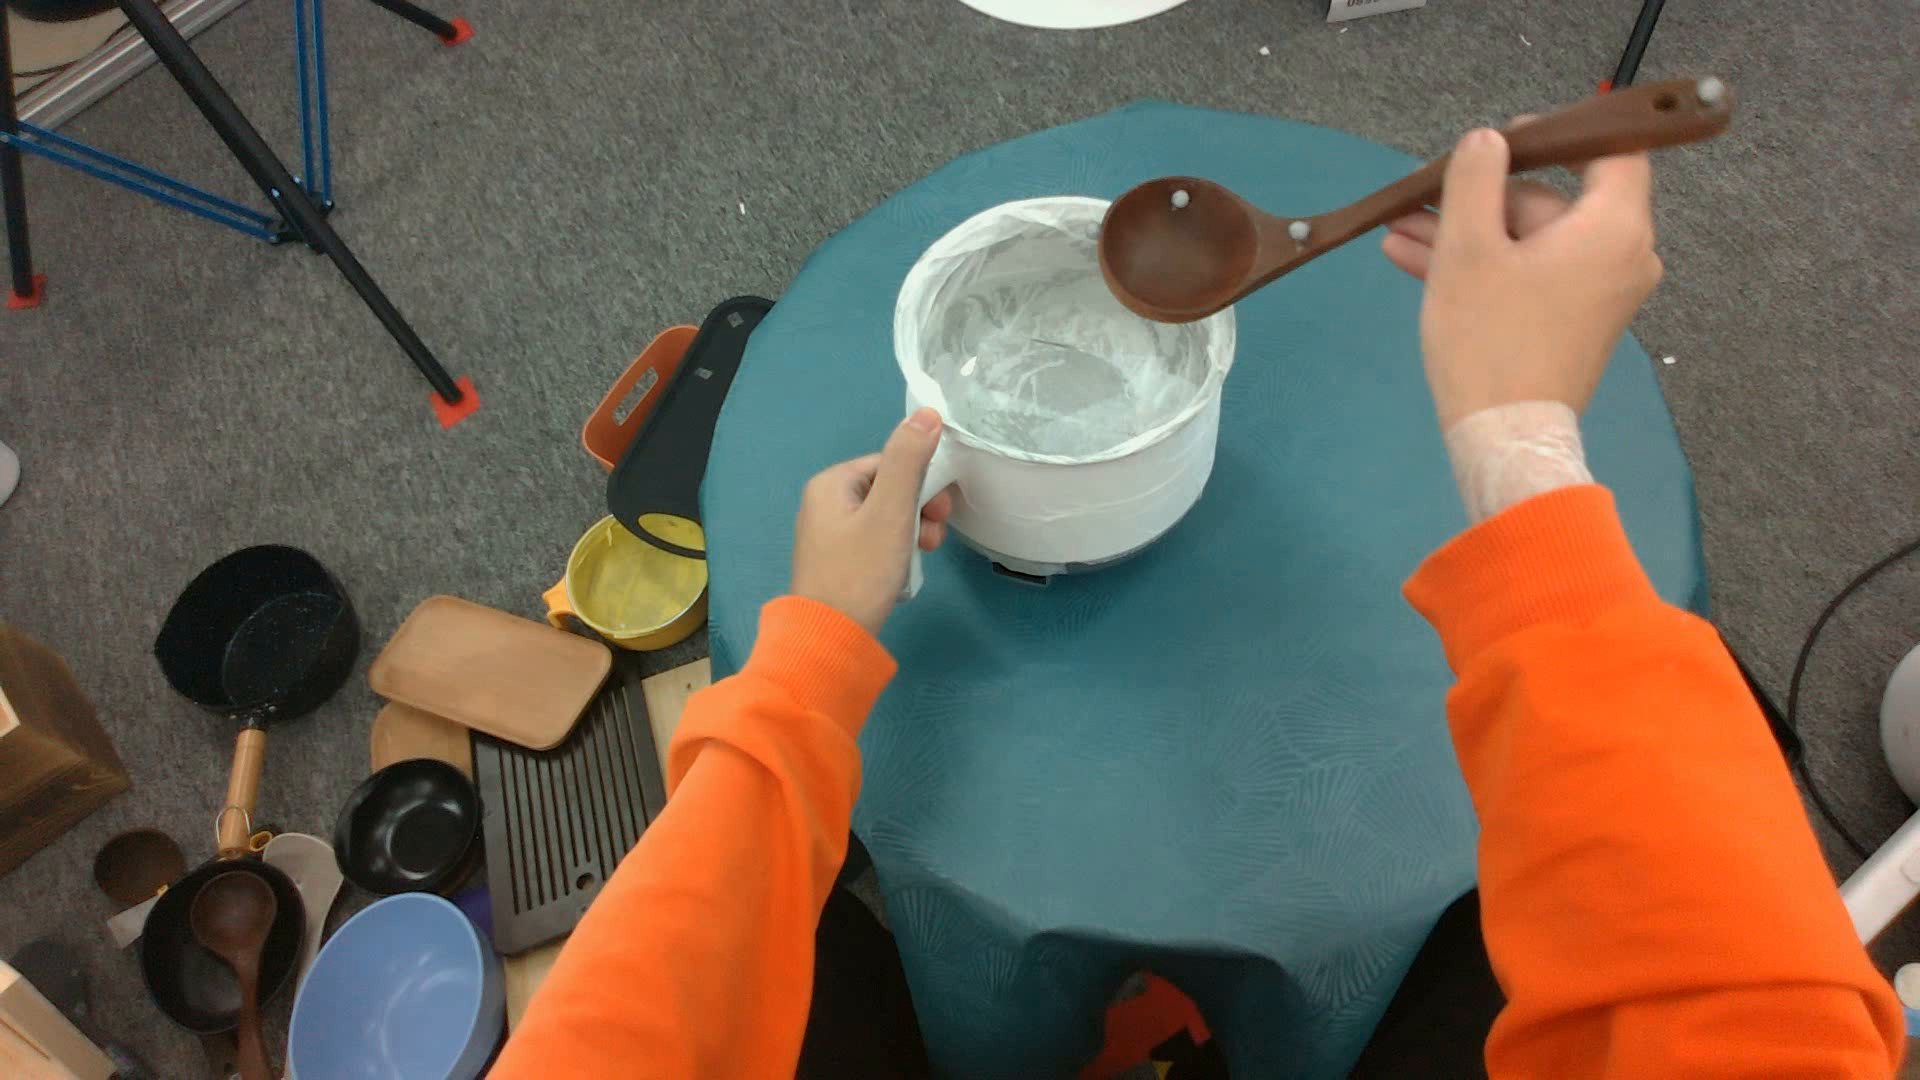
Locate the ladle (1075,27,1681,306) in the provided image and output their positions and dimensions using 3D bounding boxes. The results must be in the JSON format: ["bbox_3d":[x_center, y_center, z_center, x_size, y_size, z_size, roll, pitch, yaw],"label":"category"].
[{"bbox_3d":[0.160,-0.163,0.584,0.259,0.065,0.076,-15,67,45],"label":"ladle"}]

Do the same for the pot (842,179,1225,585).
[{"bbox_3d":[0.029,-0.073,0.754,0.234,0.136,0.179,-41,66,-20],"label":"pot"}]
